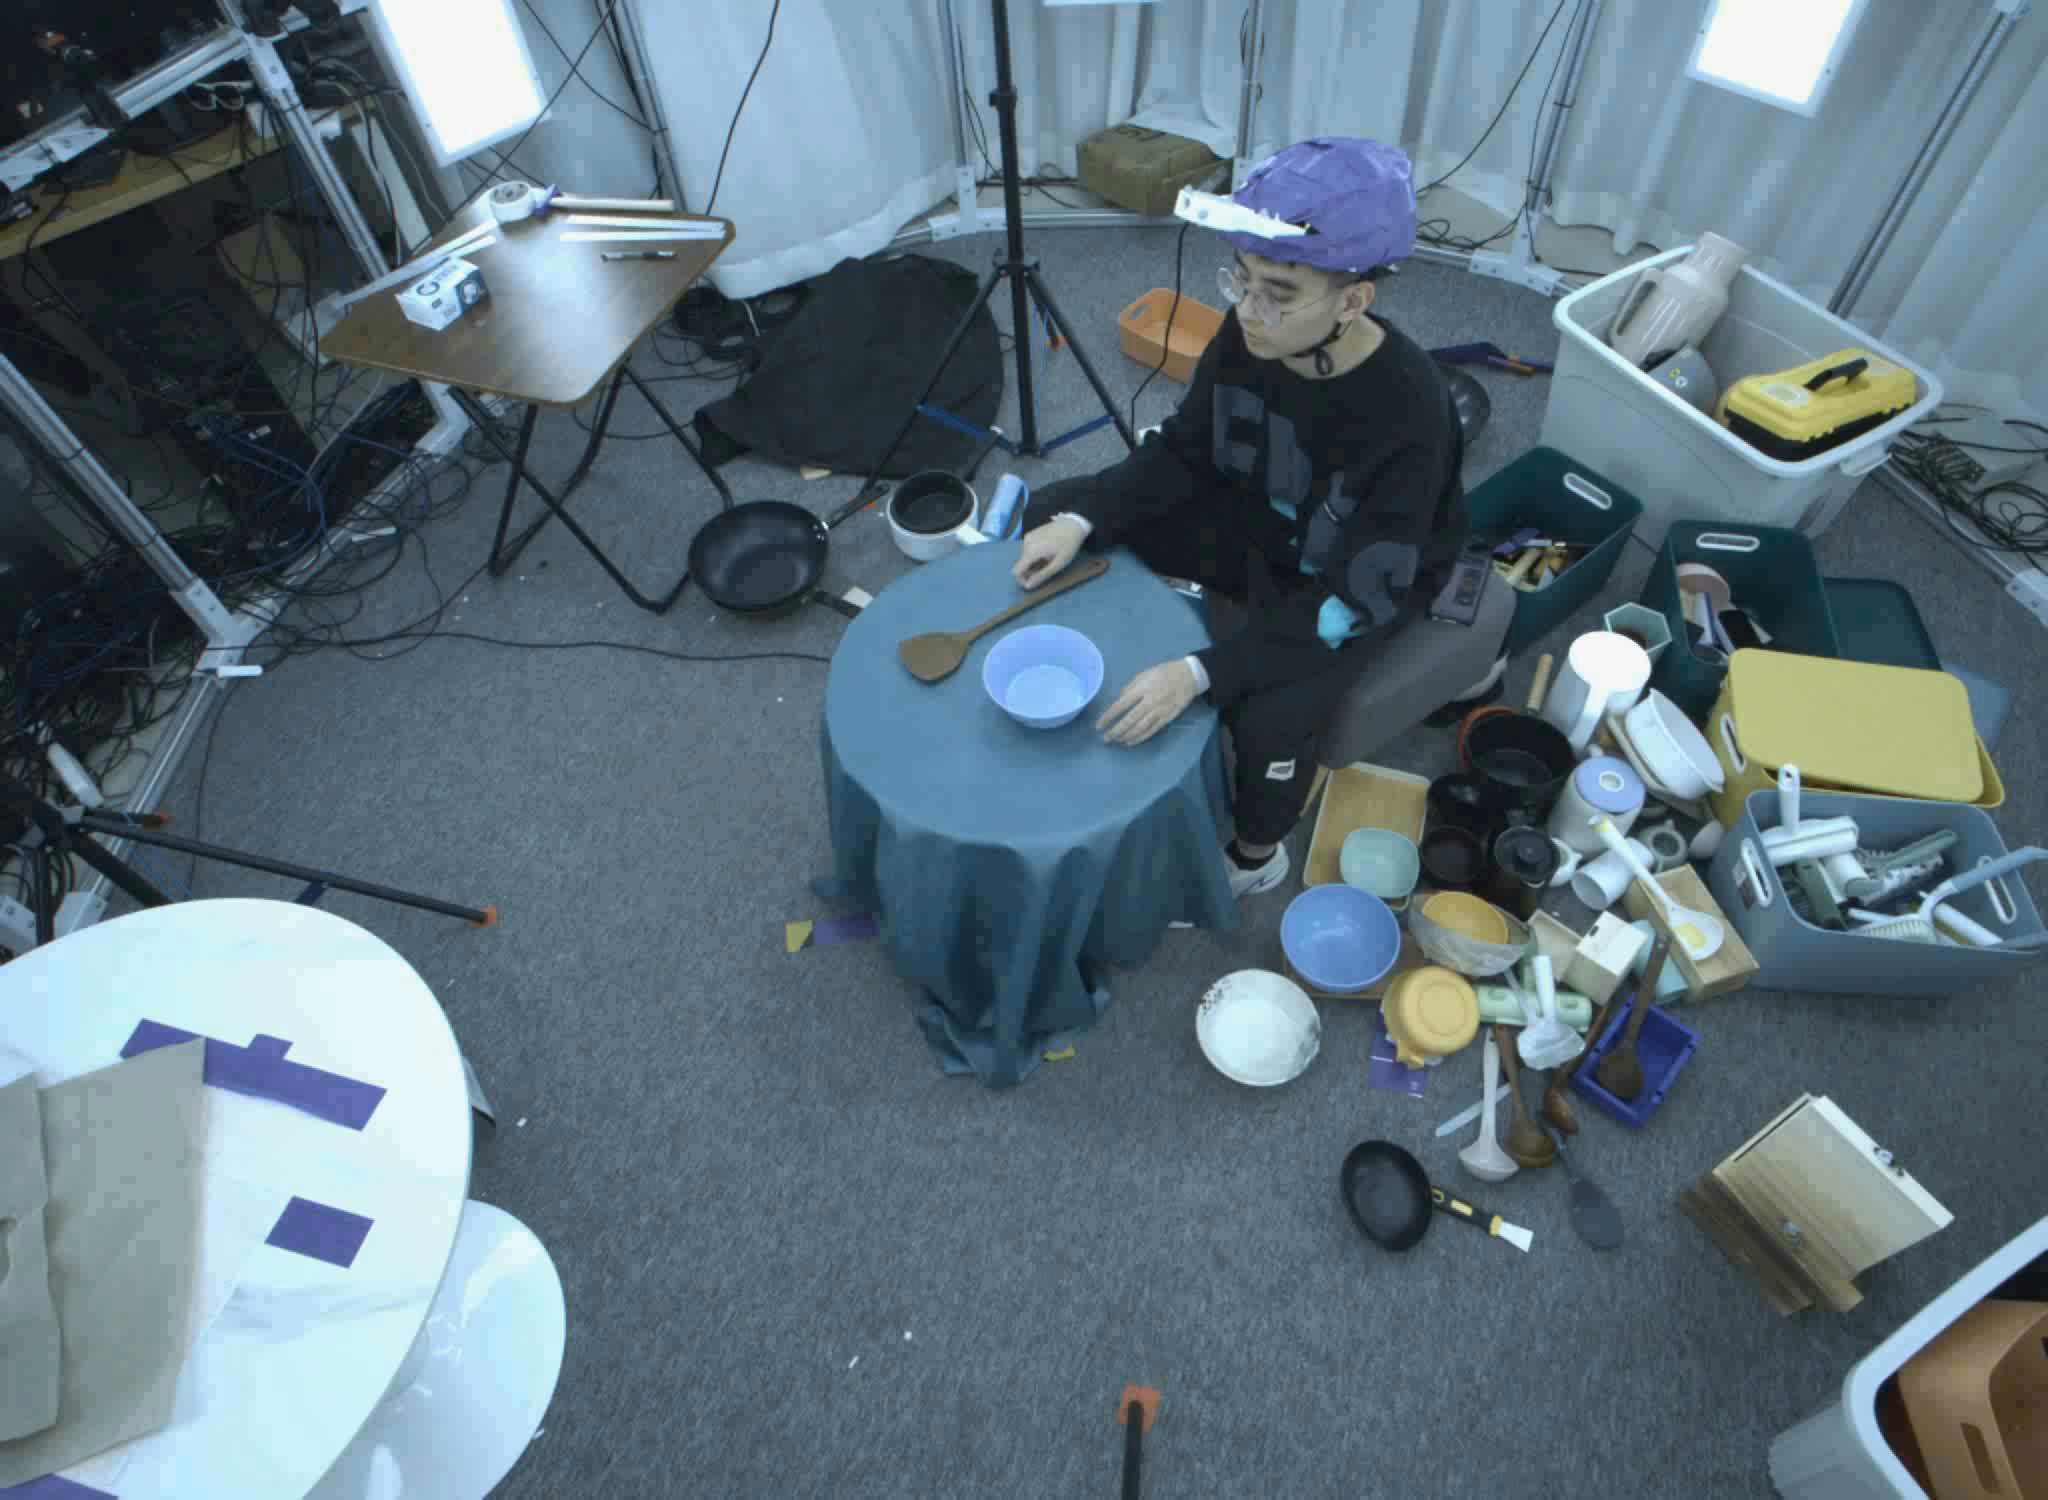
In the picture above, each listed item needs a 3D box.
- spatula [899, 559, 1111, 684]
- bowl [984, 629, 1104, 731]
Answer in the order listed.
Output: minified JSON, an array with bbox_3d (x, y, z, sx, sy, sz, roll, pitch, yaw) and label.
[{"bbox_3d":[-0.020,-0.214,1.941,0.389,0.016,0.094,-31,60,-19],"label":"spatula"},{"bbox_3d":[0.030,-0.093,1.820,0.176,0.071,0.174,0,54,1],"label":"bowl"}]
